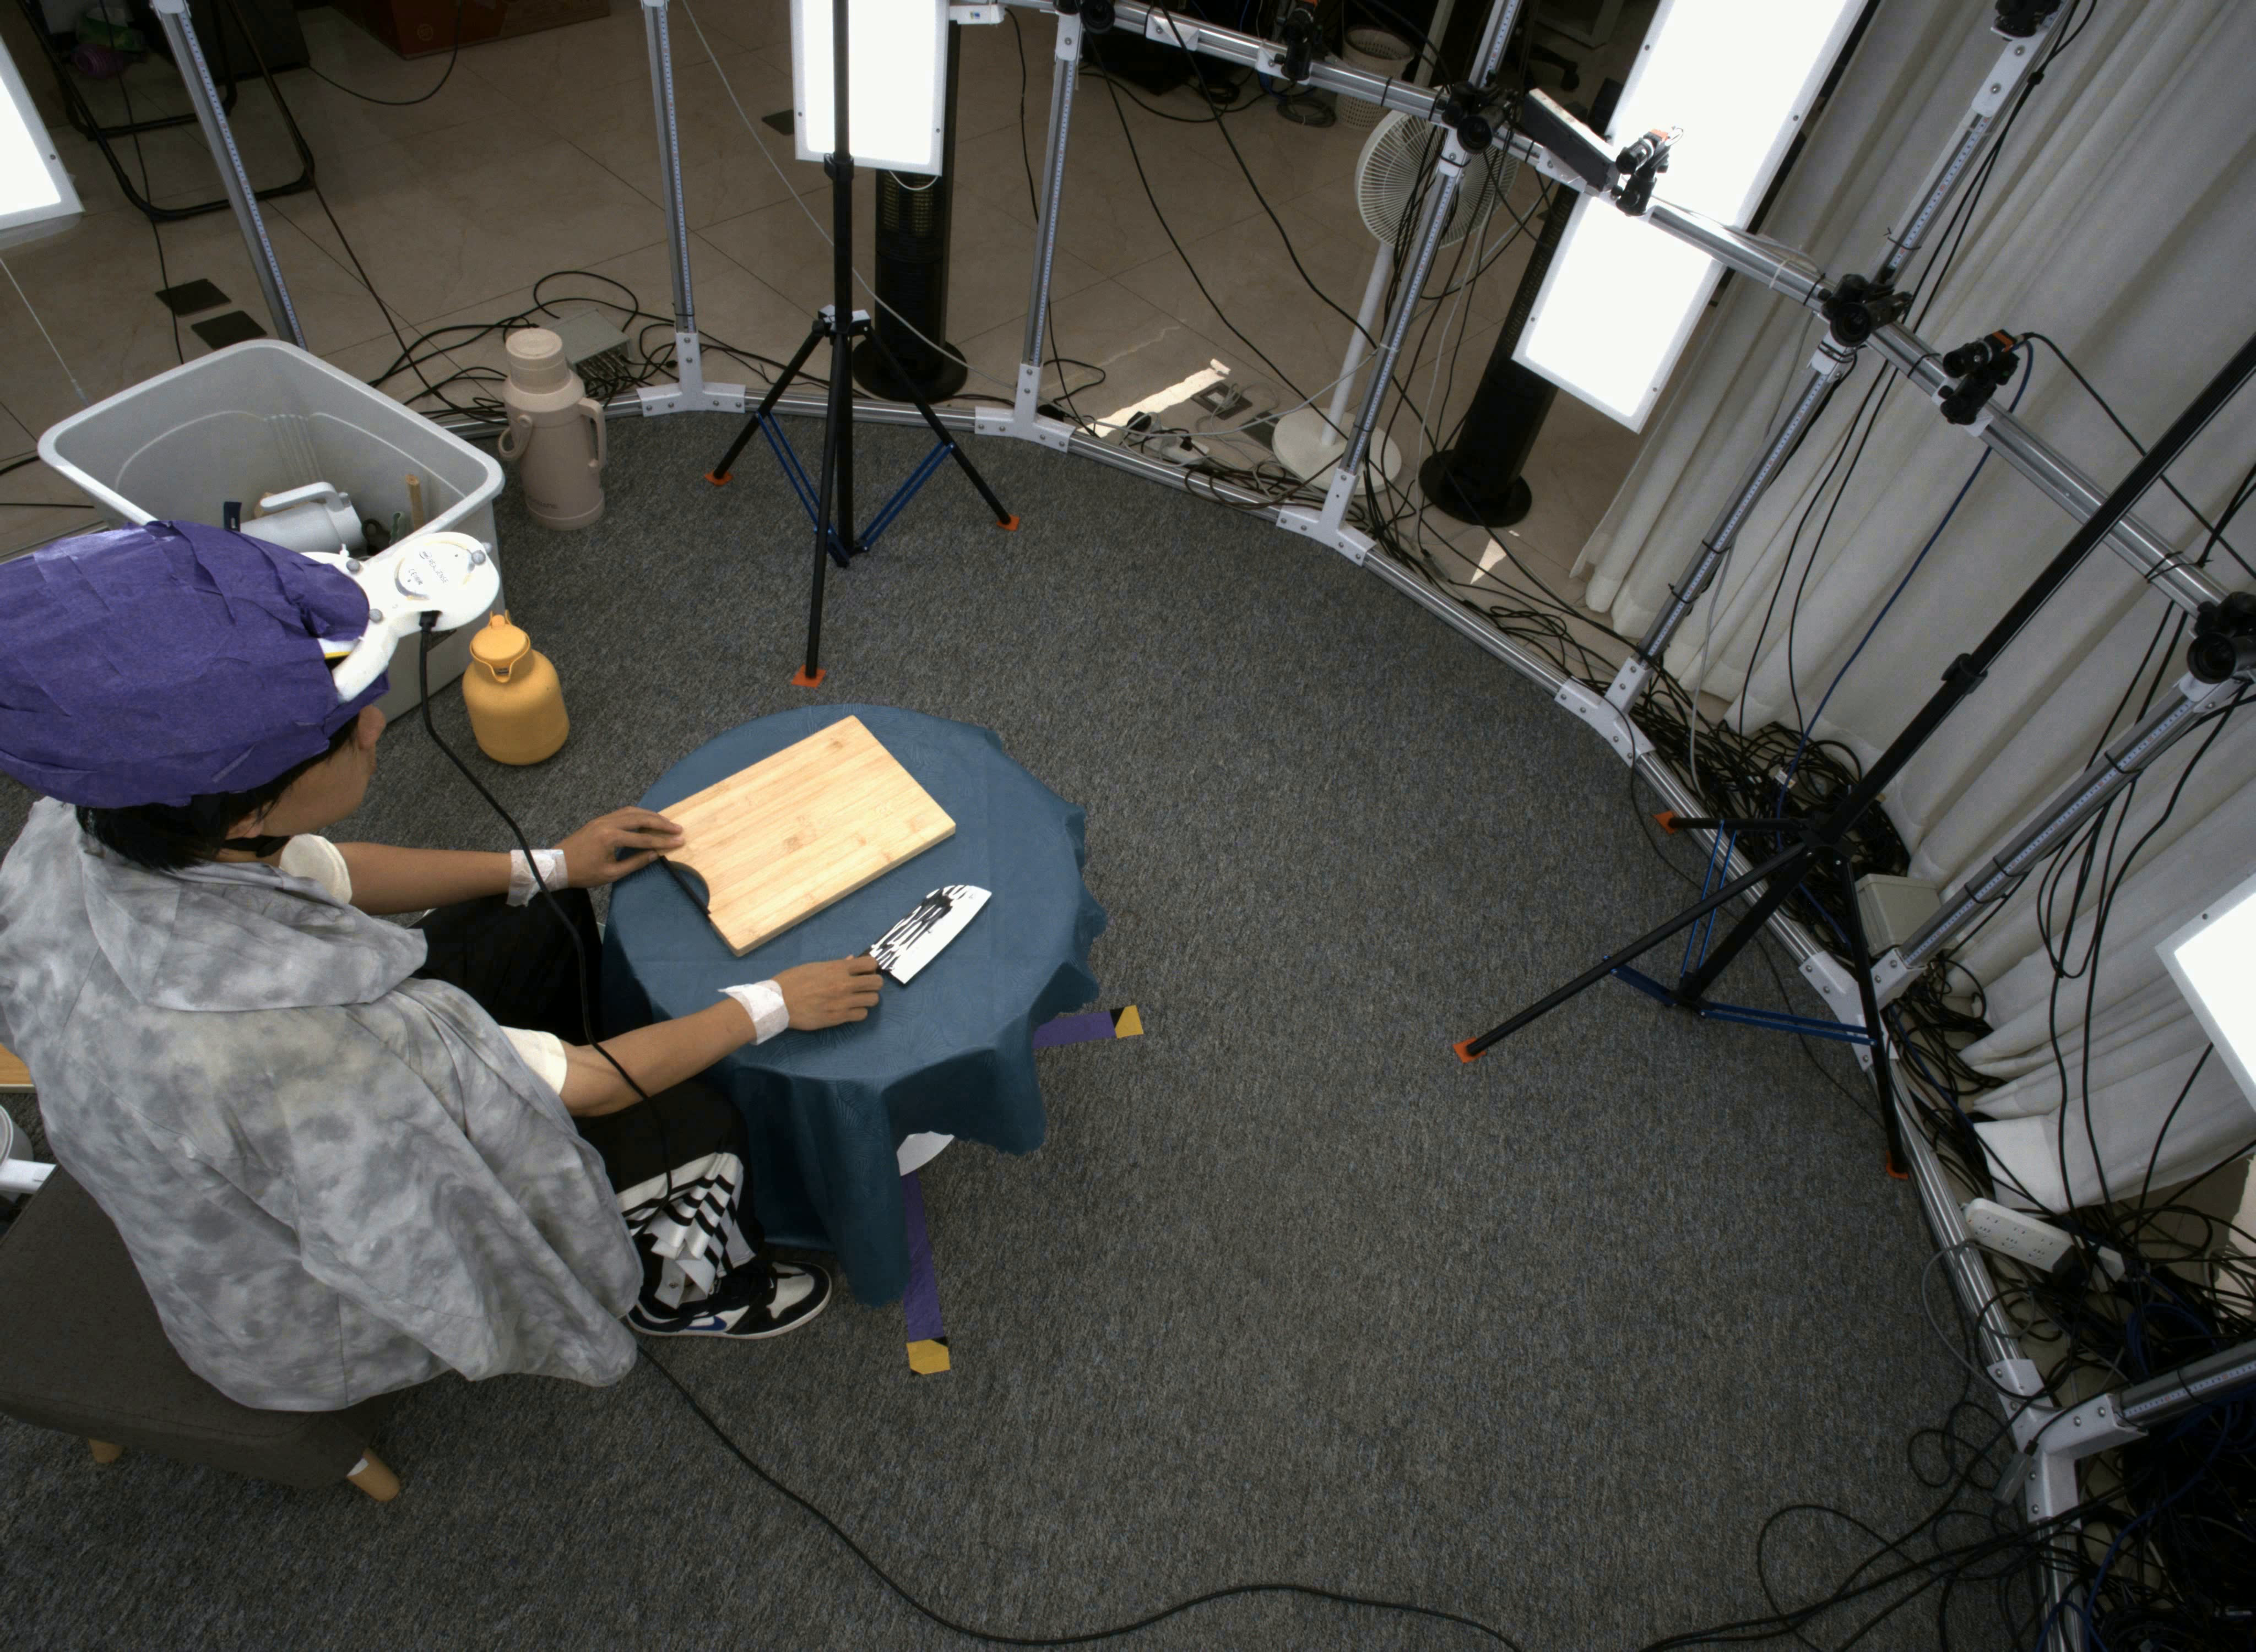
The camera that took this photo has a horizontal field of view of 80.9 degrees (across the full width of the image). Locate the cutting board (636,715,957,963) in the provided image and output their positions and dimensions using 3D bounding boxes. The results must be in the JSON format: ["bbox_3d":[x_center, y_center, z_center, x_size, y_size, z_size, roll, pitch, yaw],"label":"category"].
[{"bbox_3d":[-0.431,0.006,1.710,0.349,0.024,0.245,-34,67,-31],"label":"cutting board"}]

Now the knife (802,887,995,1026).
[{"bbox_3d":[-0.281,0.160,1.627,0.067,0.024,0.299,38,54,13],"label":"knife"}]
